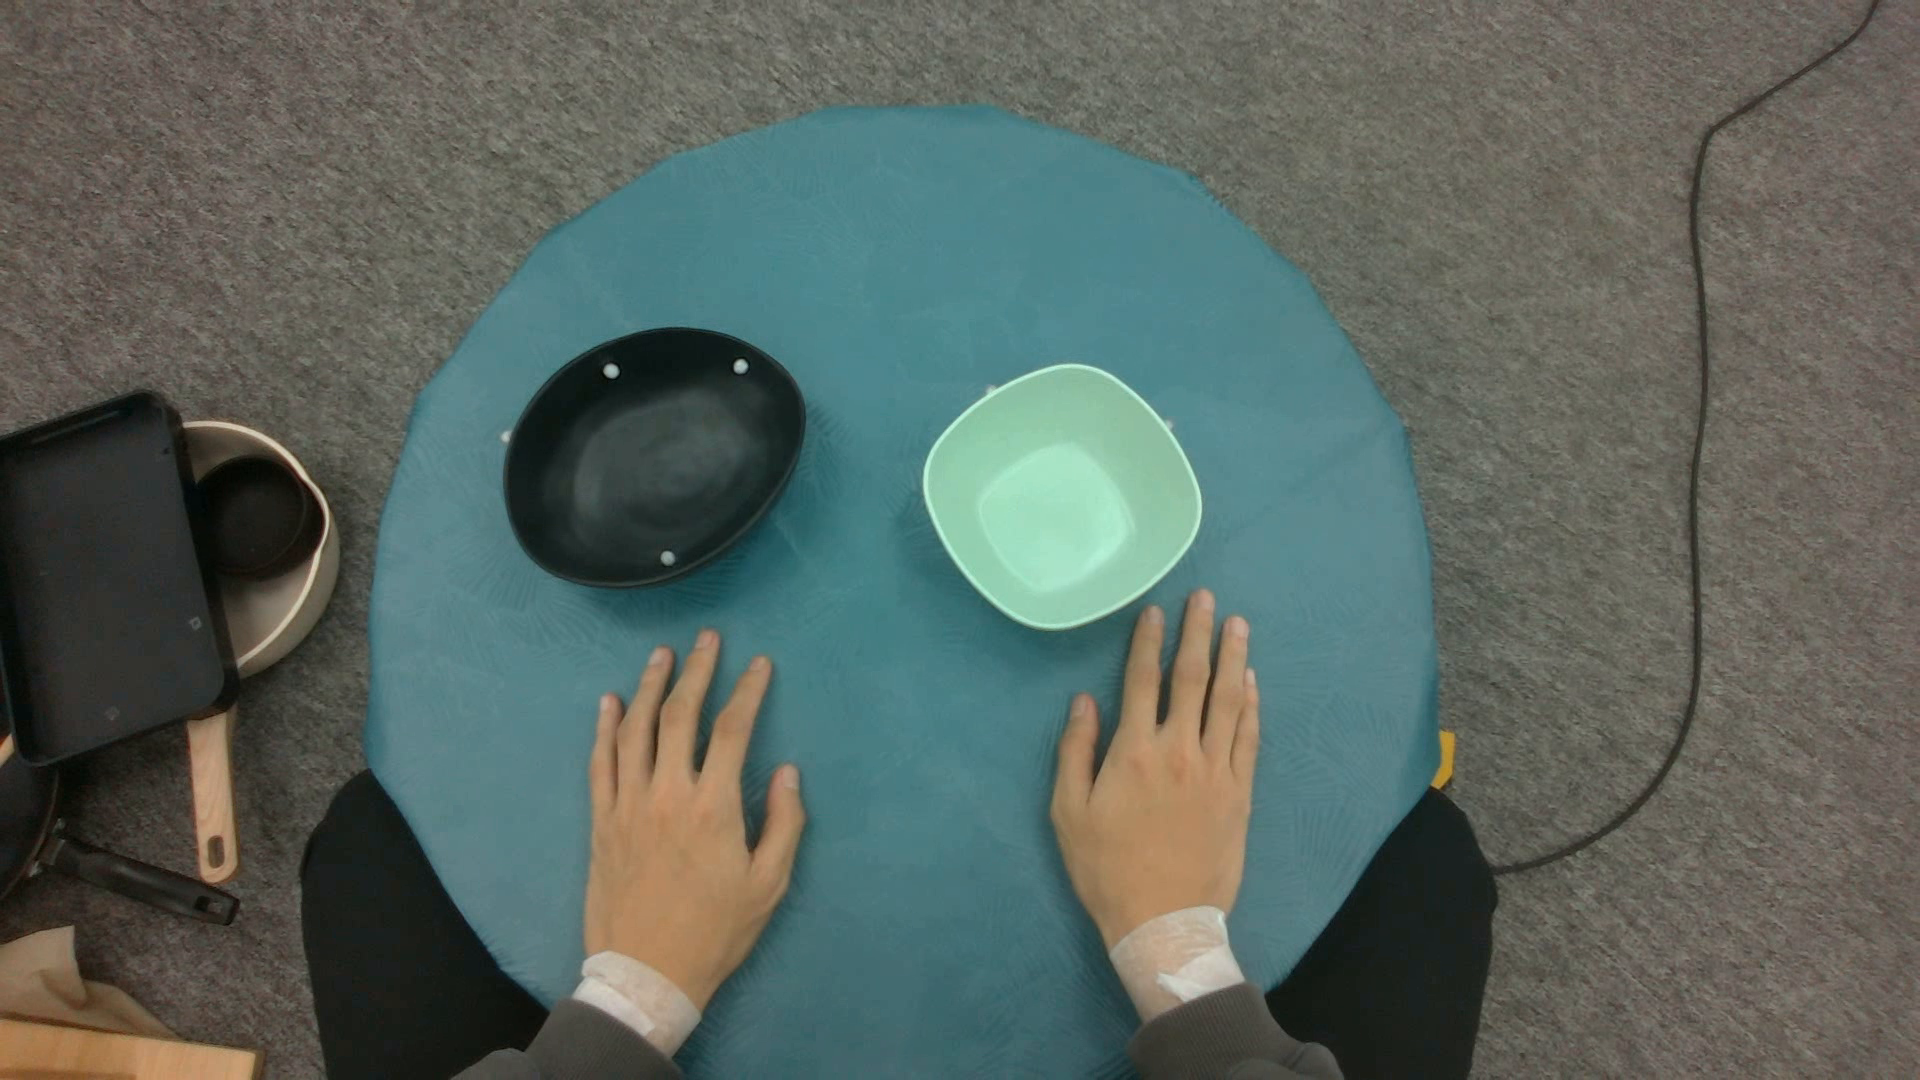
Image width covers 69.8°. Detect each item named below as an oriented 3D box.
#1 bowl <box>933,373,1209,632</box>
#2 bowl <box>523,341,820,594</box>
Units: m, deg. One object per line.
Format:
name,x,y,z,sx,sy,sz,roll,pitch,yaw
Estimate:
bowl,0.061,-0.014,0.774,0.151,0.058,0.152,0,71,1
bowl,-0.158,-0.037,0.778,0.170,0.066,0.137,-36,77,-11
